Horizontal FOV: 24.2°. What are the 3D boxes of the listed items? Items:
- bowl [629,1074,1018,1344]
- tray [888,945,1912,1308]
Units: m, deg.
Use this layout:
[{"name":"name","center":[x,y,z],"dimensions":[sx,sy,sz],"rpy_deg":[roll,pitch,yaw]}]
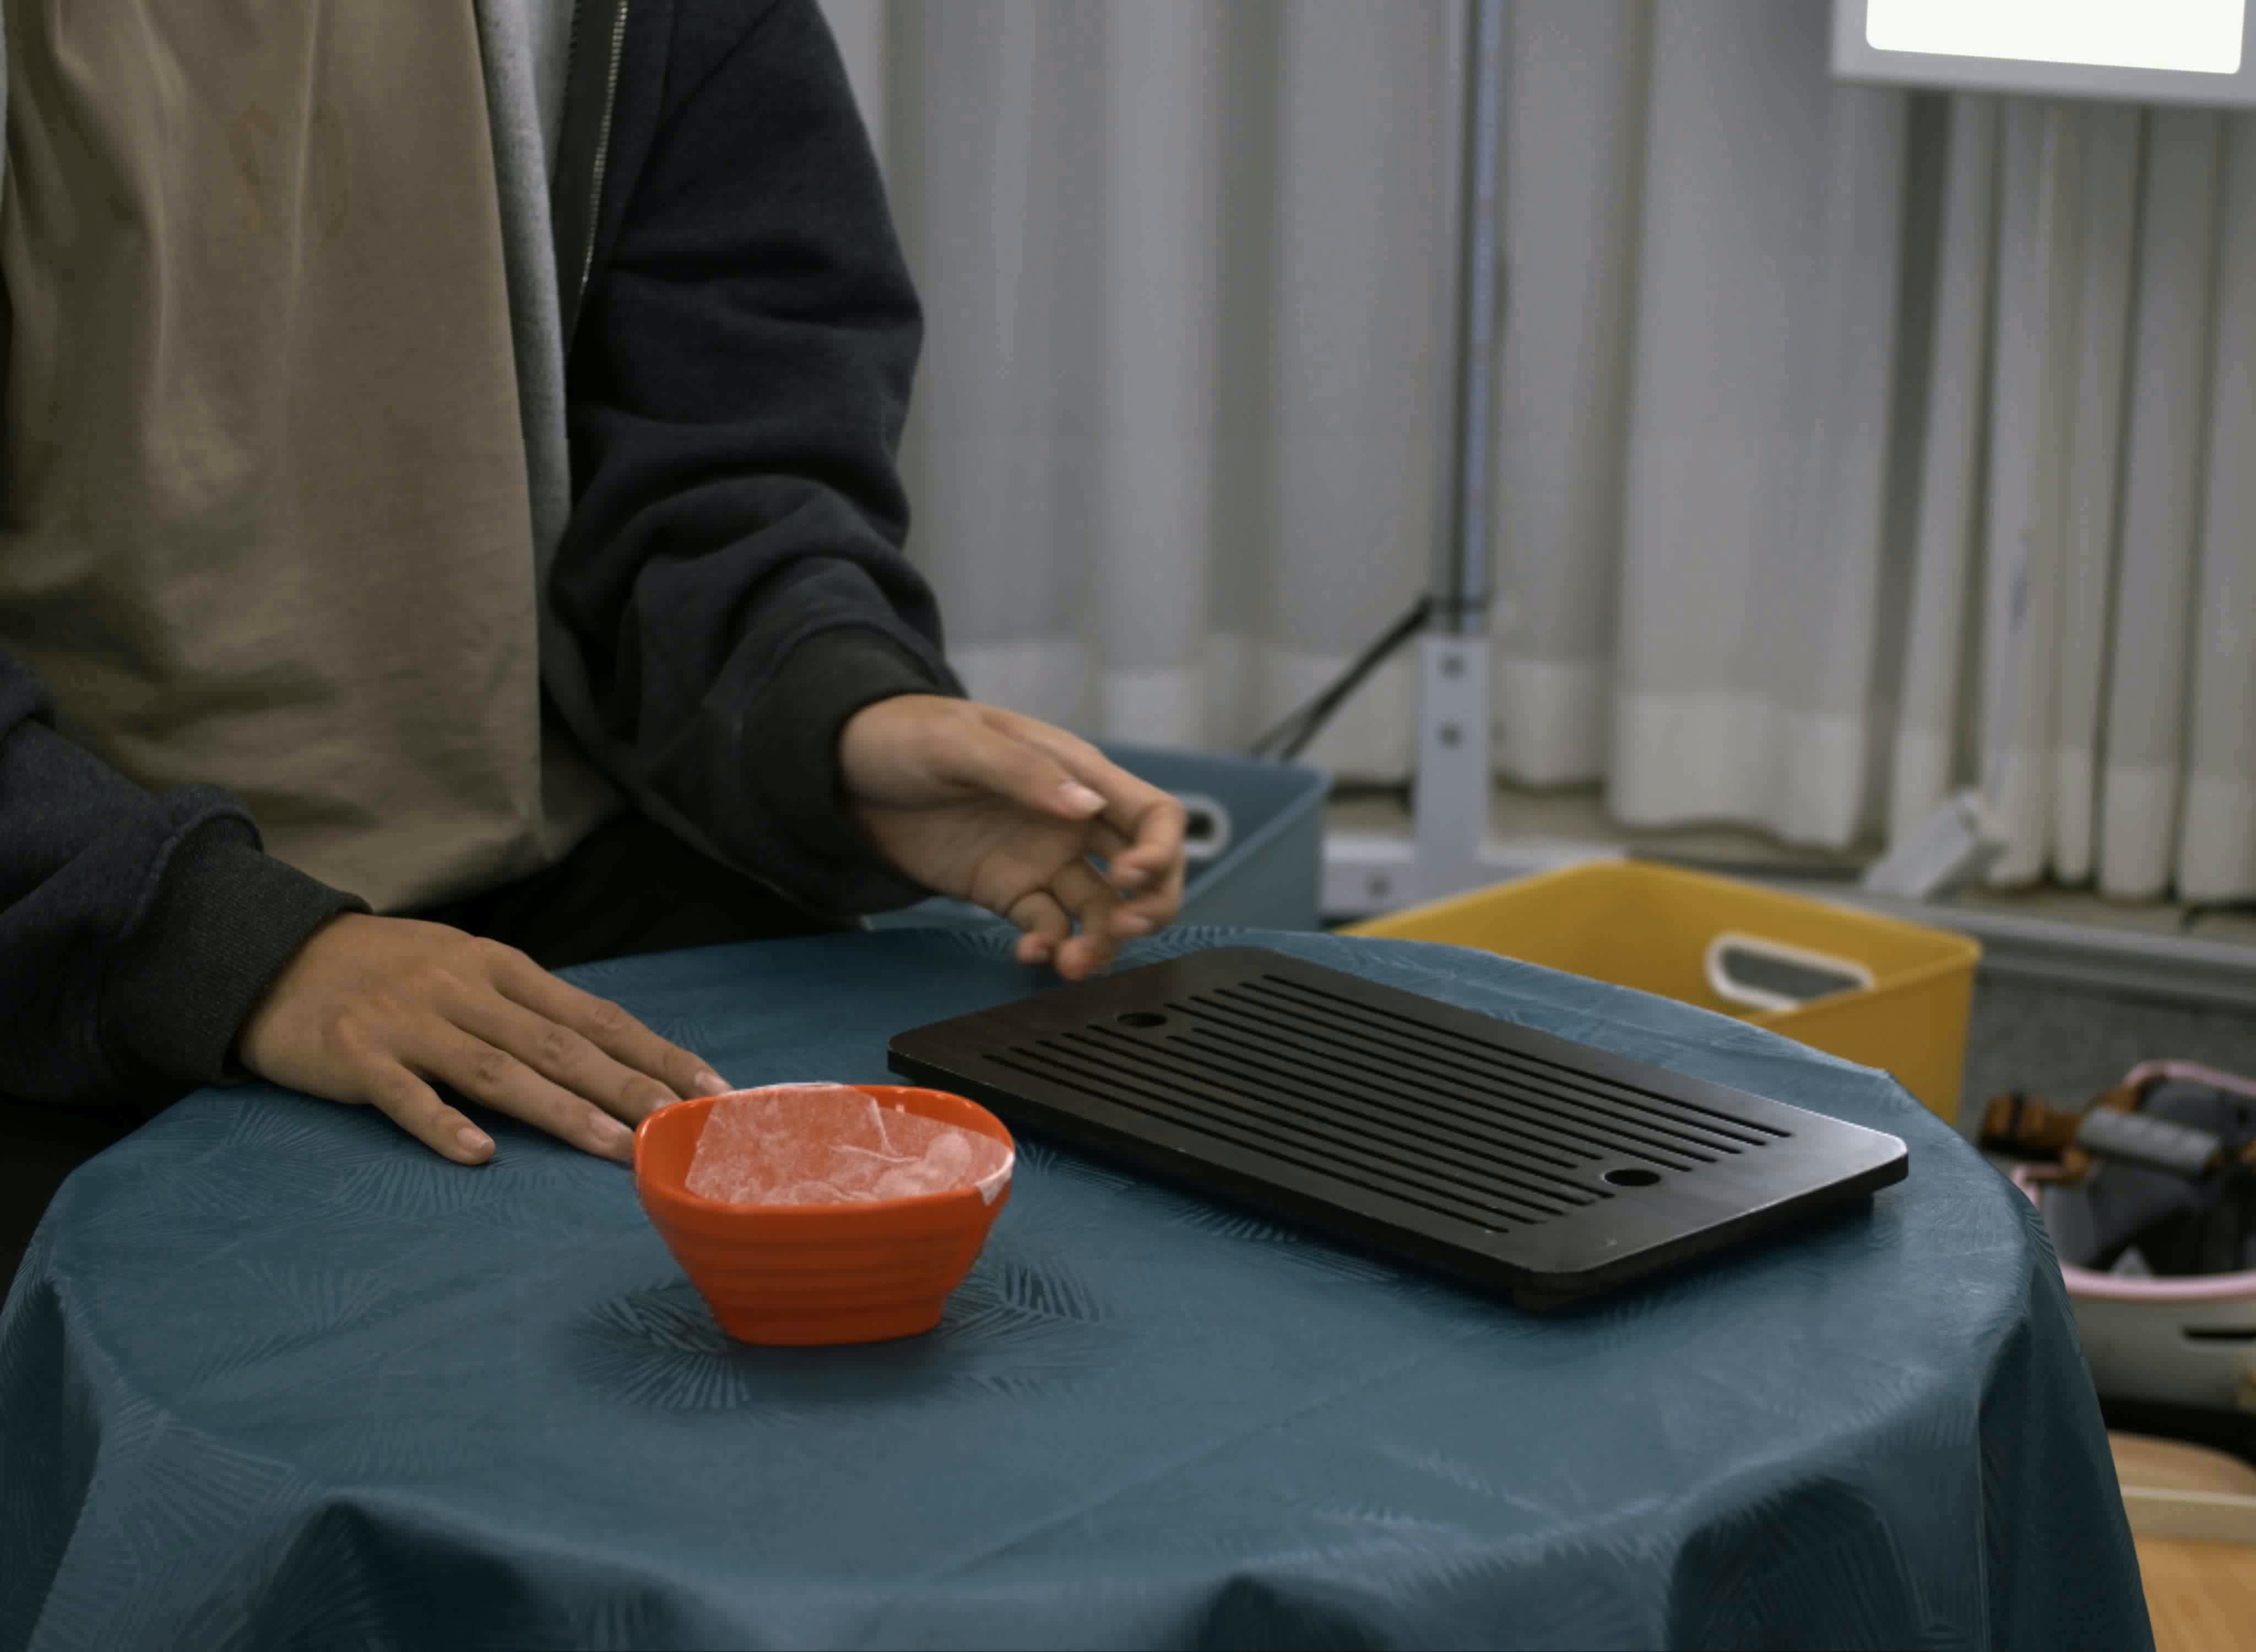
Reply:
[{"name":"bowl","center":[-0.088,0.113,1.517],"dimensions":[0.118,0.052,0.118],"rpy_deg":[0,17,1]},{"name":"tray","center":[0.081,0.091,1.667],"dimensions":[0.171,0.019,0.302],"rpy_deg":[-14,21,-42]}]
